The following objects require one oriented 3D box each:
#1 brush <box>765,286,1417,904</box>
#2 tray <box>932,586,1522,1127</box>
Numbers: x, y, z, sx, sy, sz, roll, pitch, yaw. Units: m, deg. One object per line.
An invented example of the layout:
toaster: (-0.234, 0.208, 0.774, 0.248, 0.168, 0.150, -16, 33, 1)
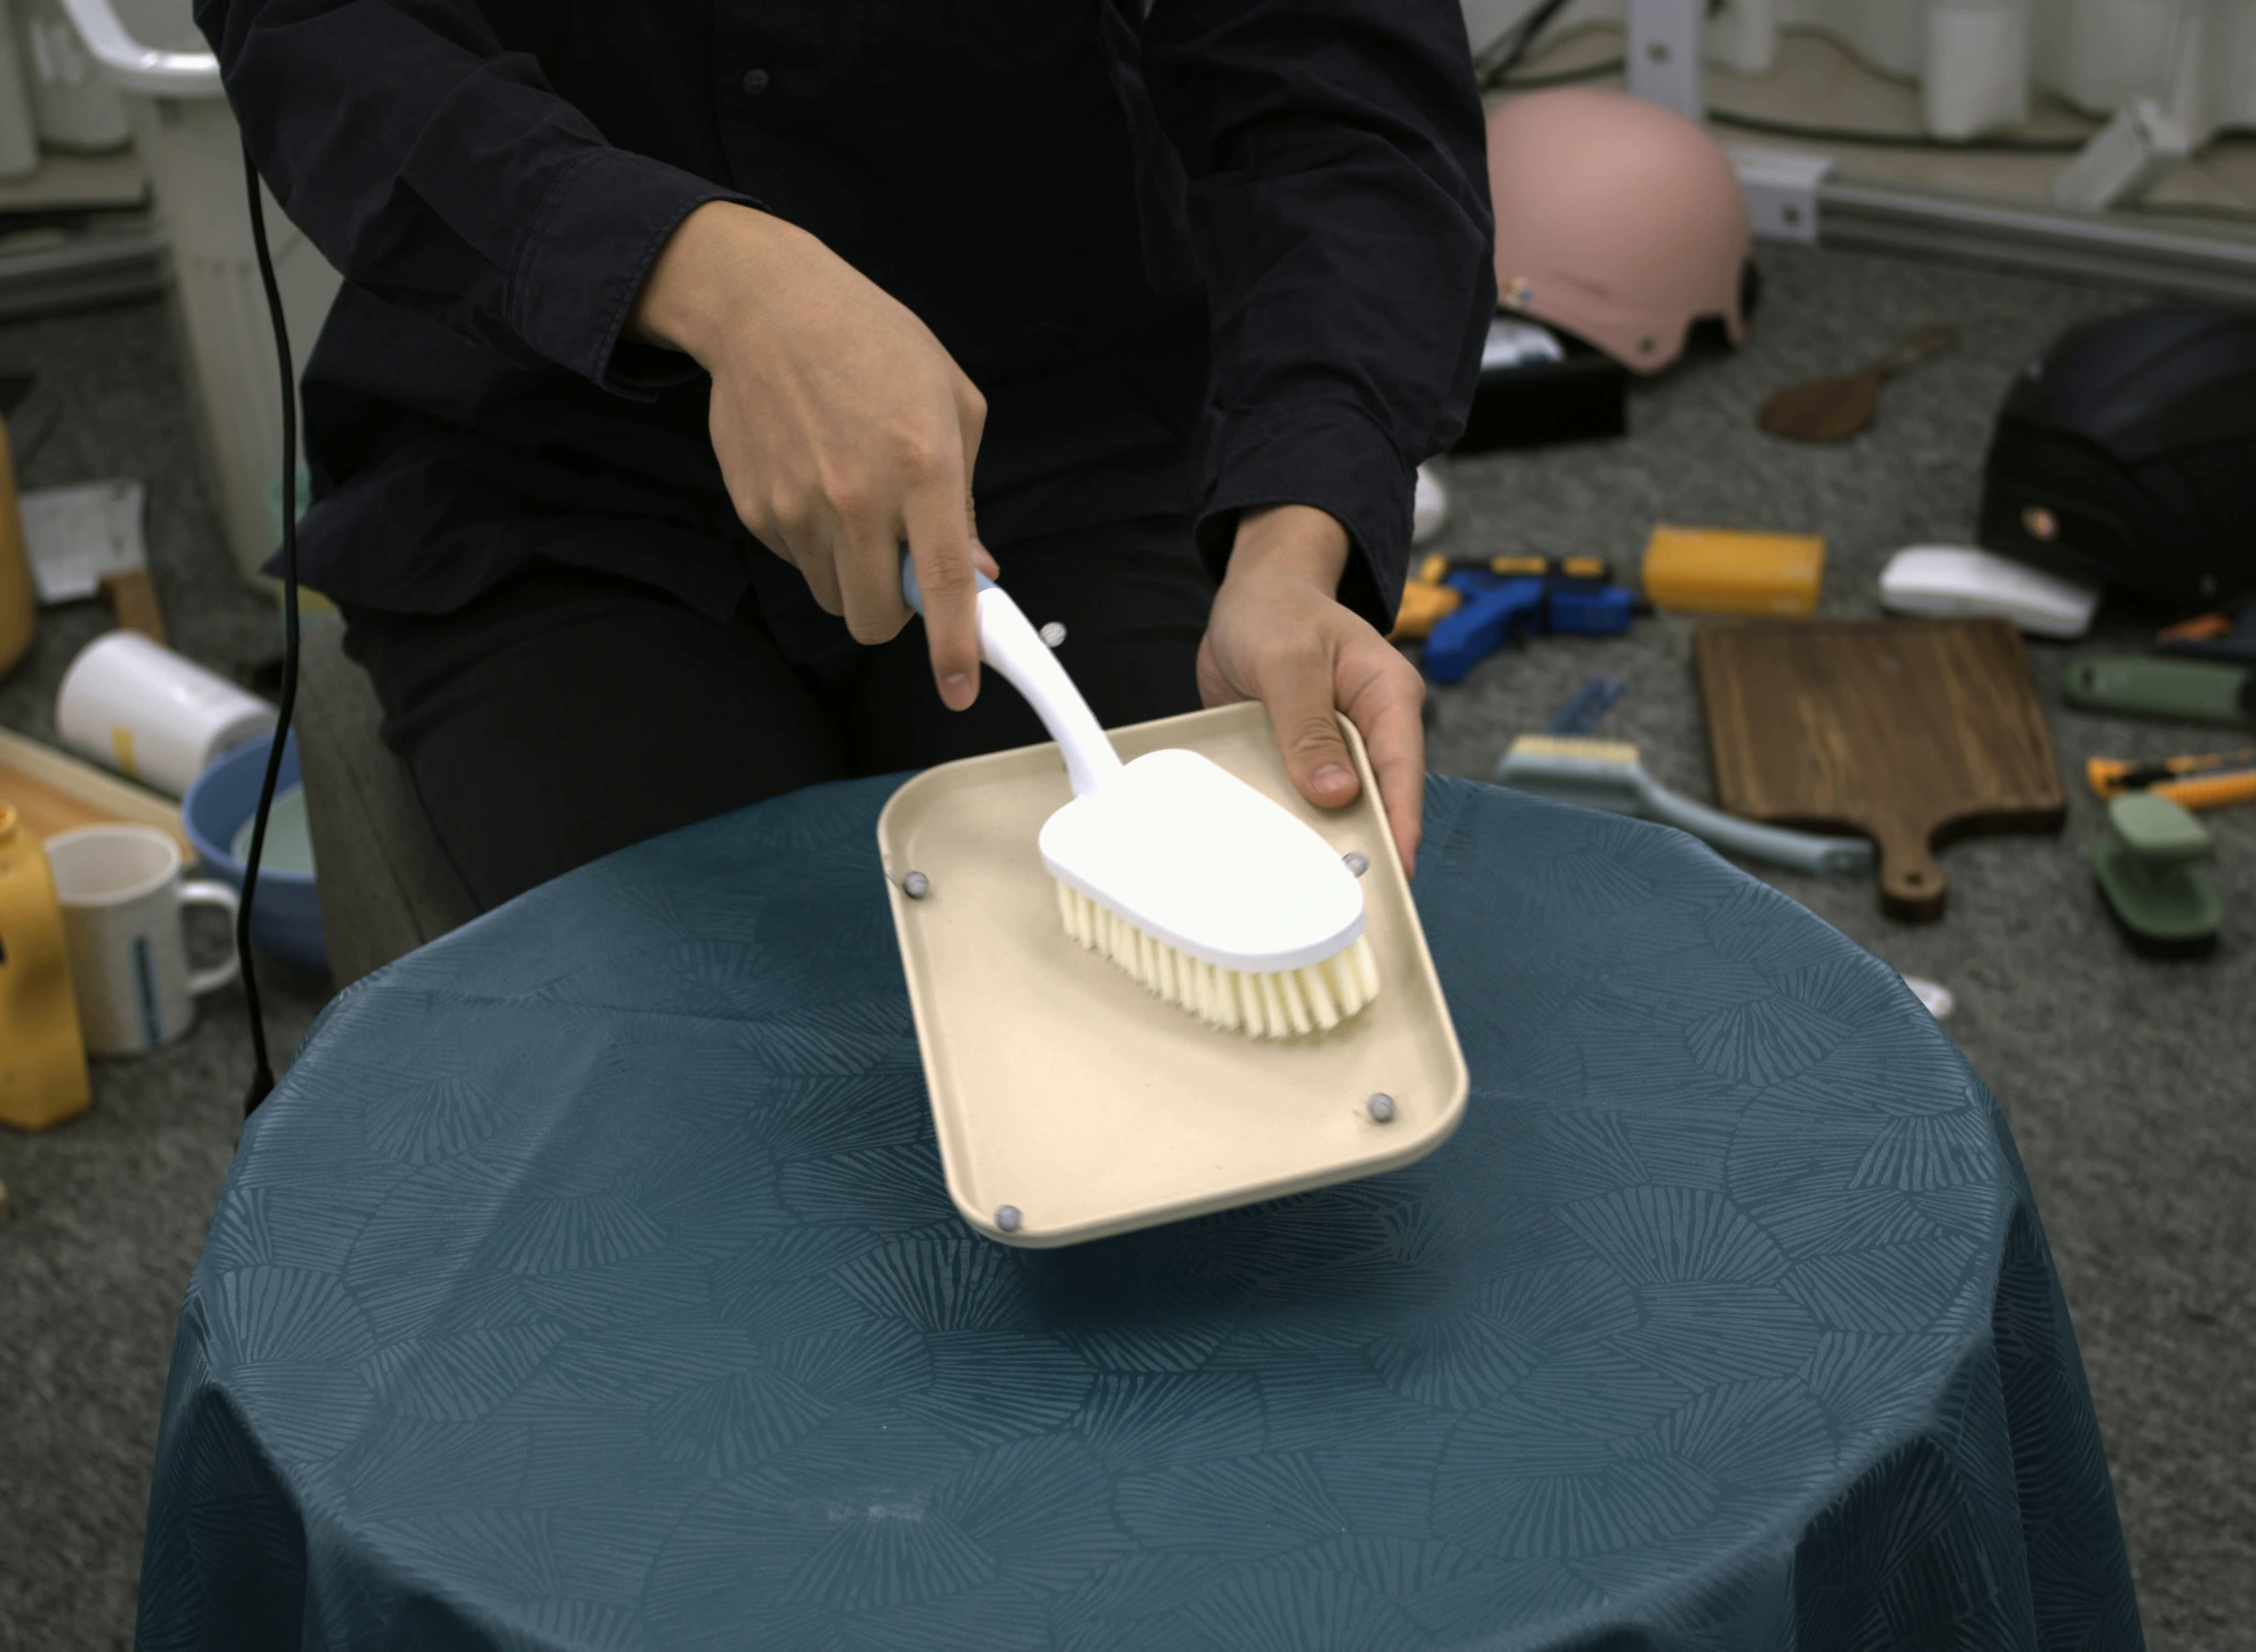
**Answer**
brush: (-0.014, -0.073, 1.923, 0.327, 0.084, 0.083, 41, 23, 32)
tray: (0.030, 0.009, 1.870, 0.171, 0.017, 0.244, -12, 39, -2)
